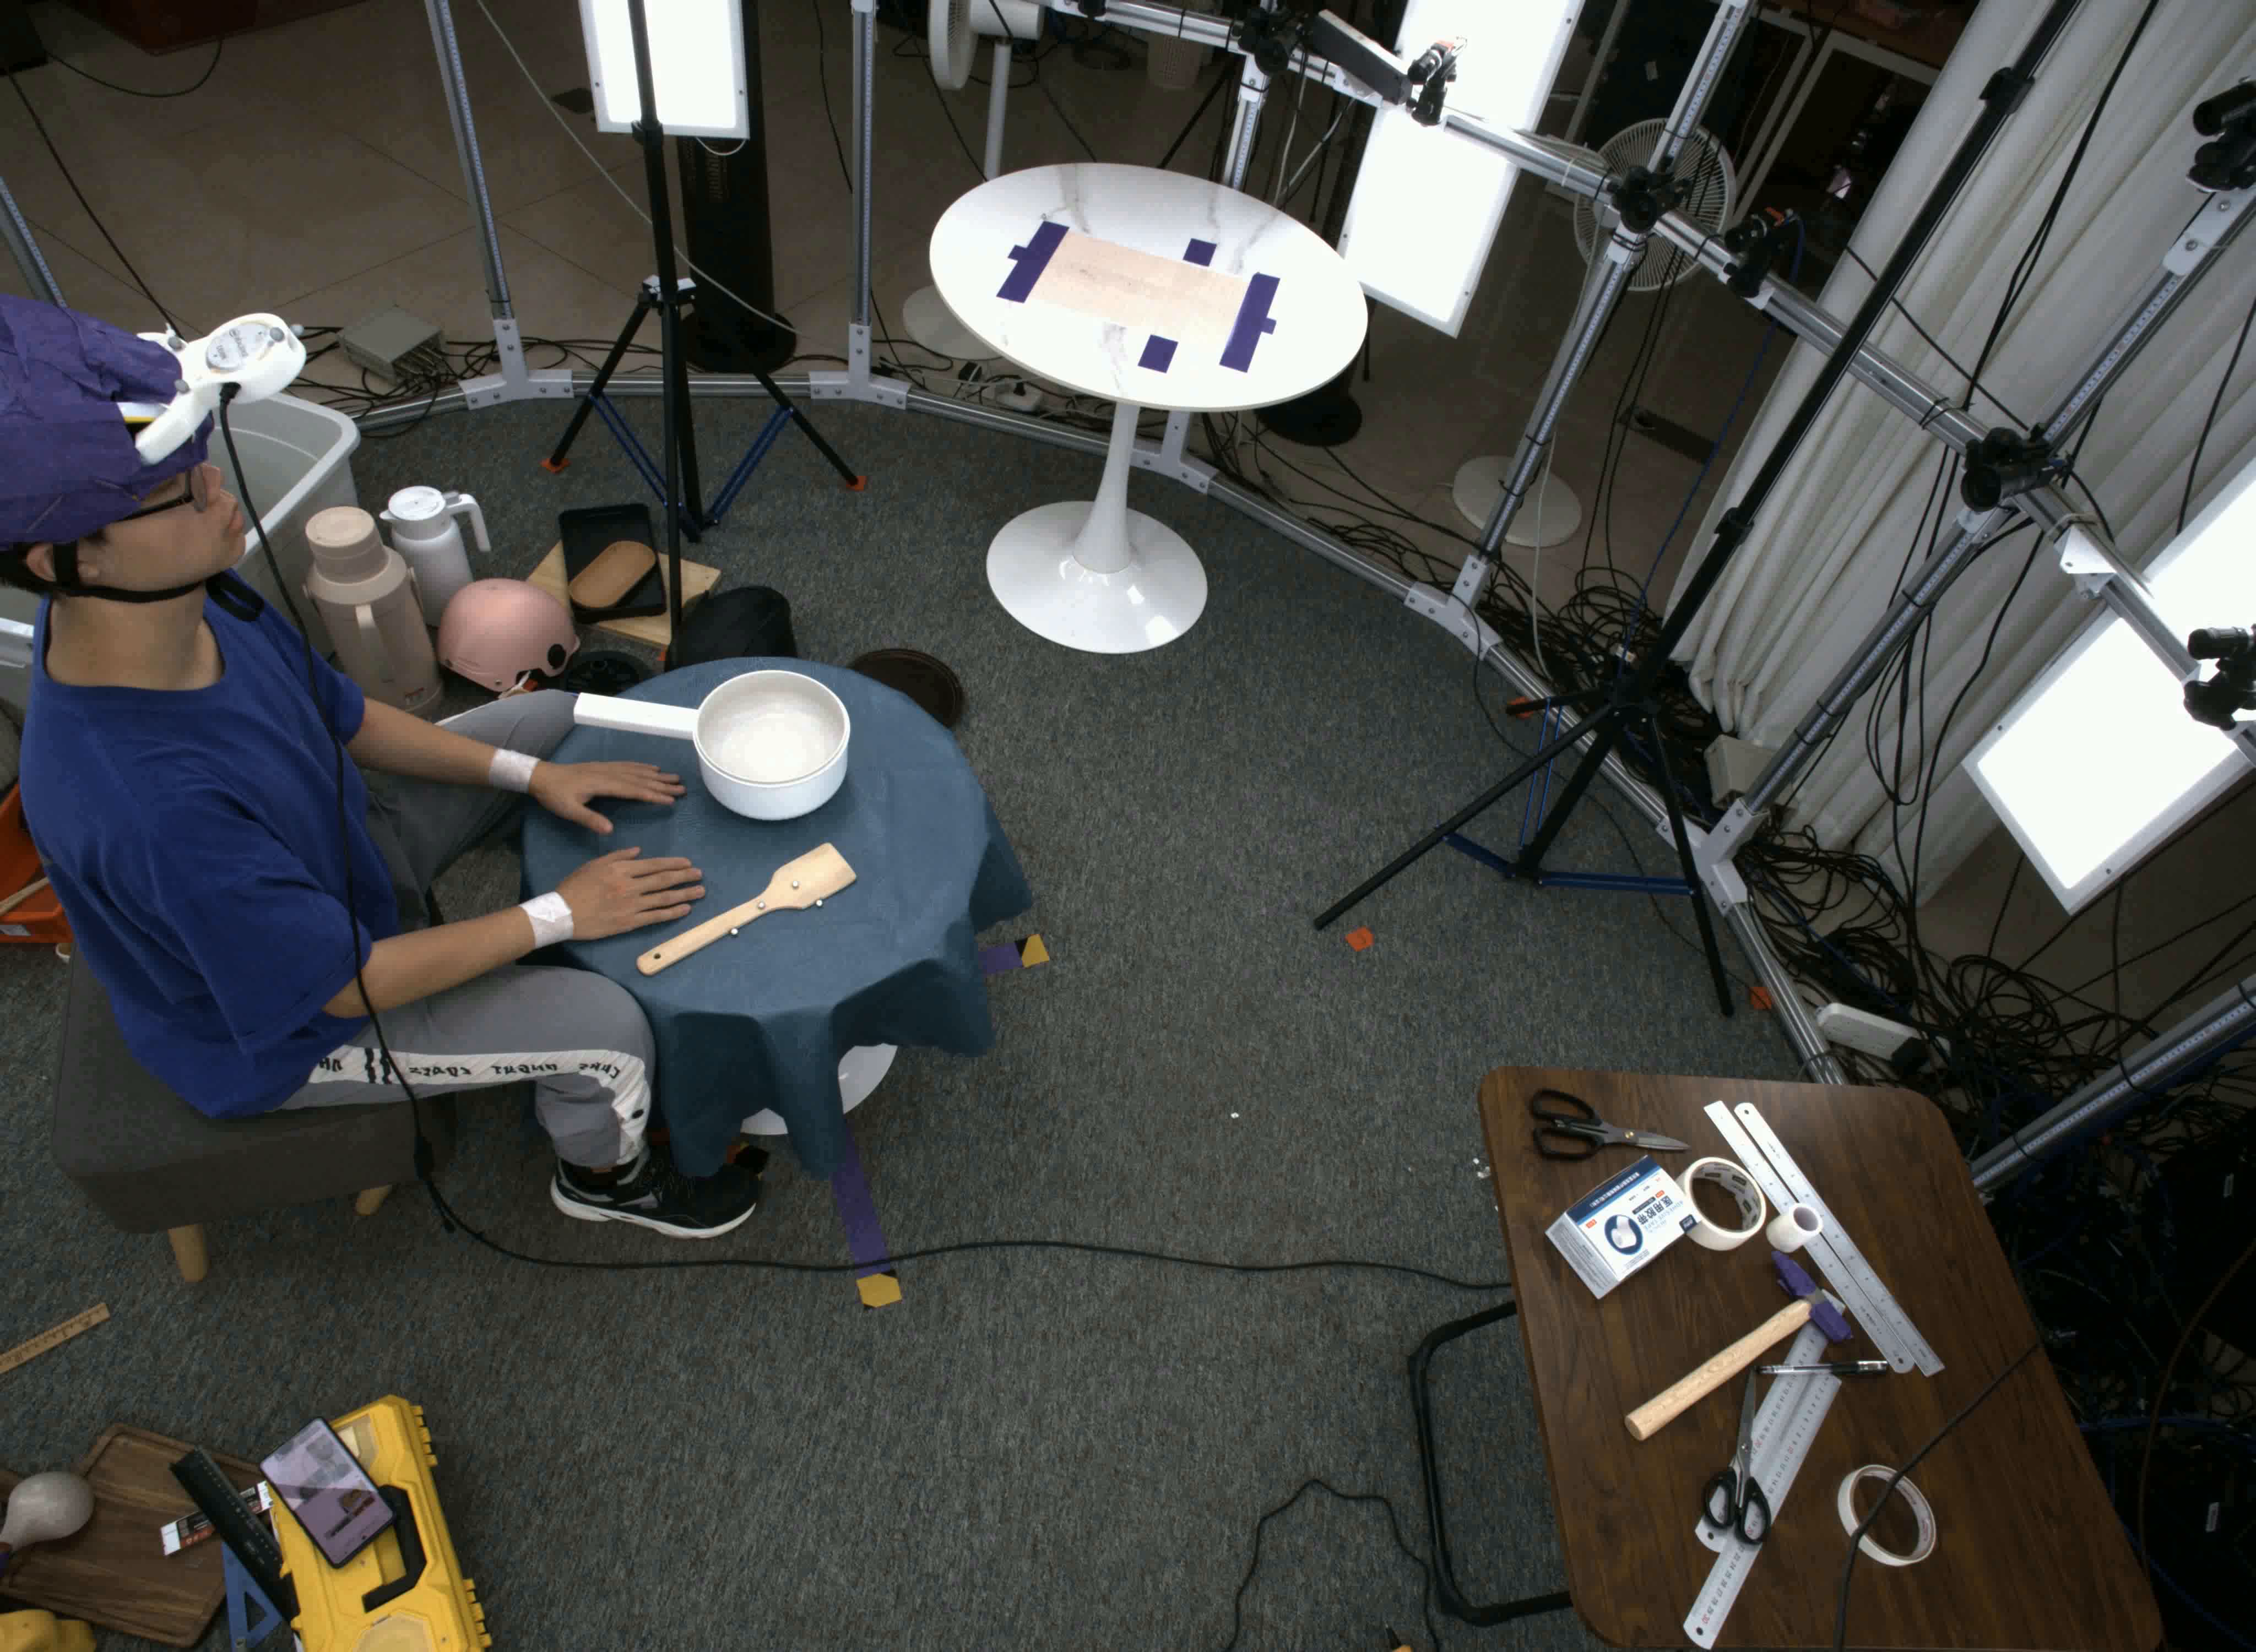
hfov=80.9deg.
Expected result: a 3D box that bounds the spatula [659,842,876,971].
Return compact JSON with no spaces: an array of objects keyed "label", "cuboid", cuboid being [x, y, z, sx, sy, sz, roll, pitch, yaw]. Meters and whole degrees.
[{"label":"spatula","cuboid":[-0.458,0.106,1.641,0.294,0.011,0.070,-29,67,-31]}]

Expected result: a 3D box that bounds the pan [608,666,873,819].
[{"label":"pan","cuboid":[-0.520,-0.118,1.735,0.354,0.104,0.198,8,54,-8]}]
